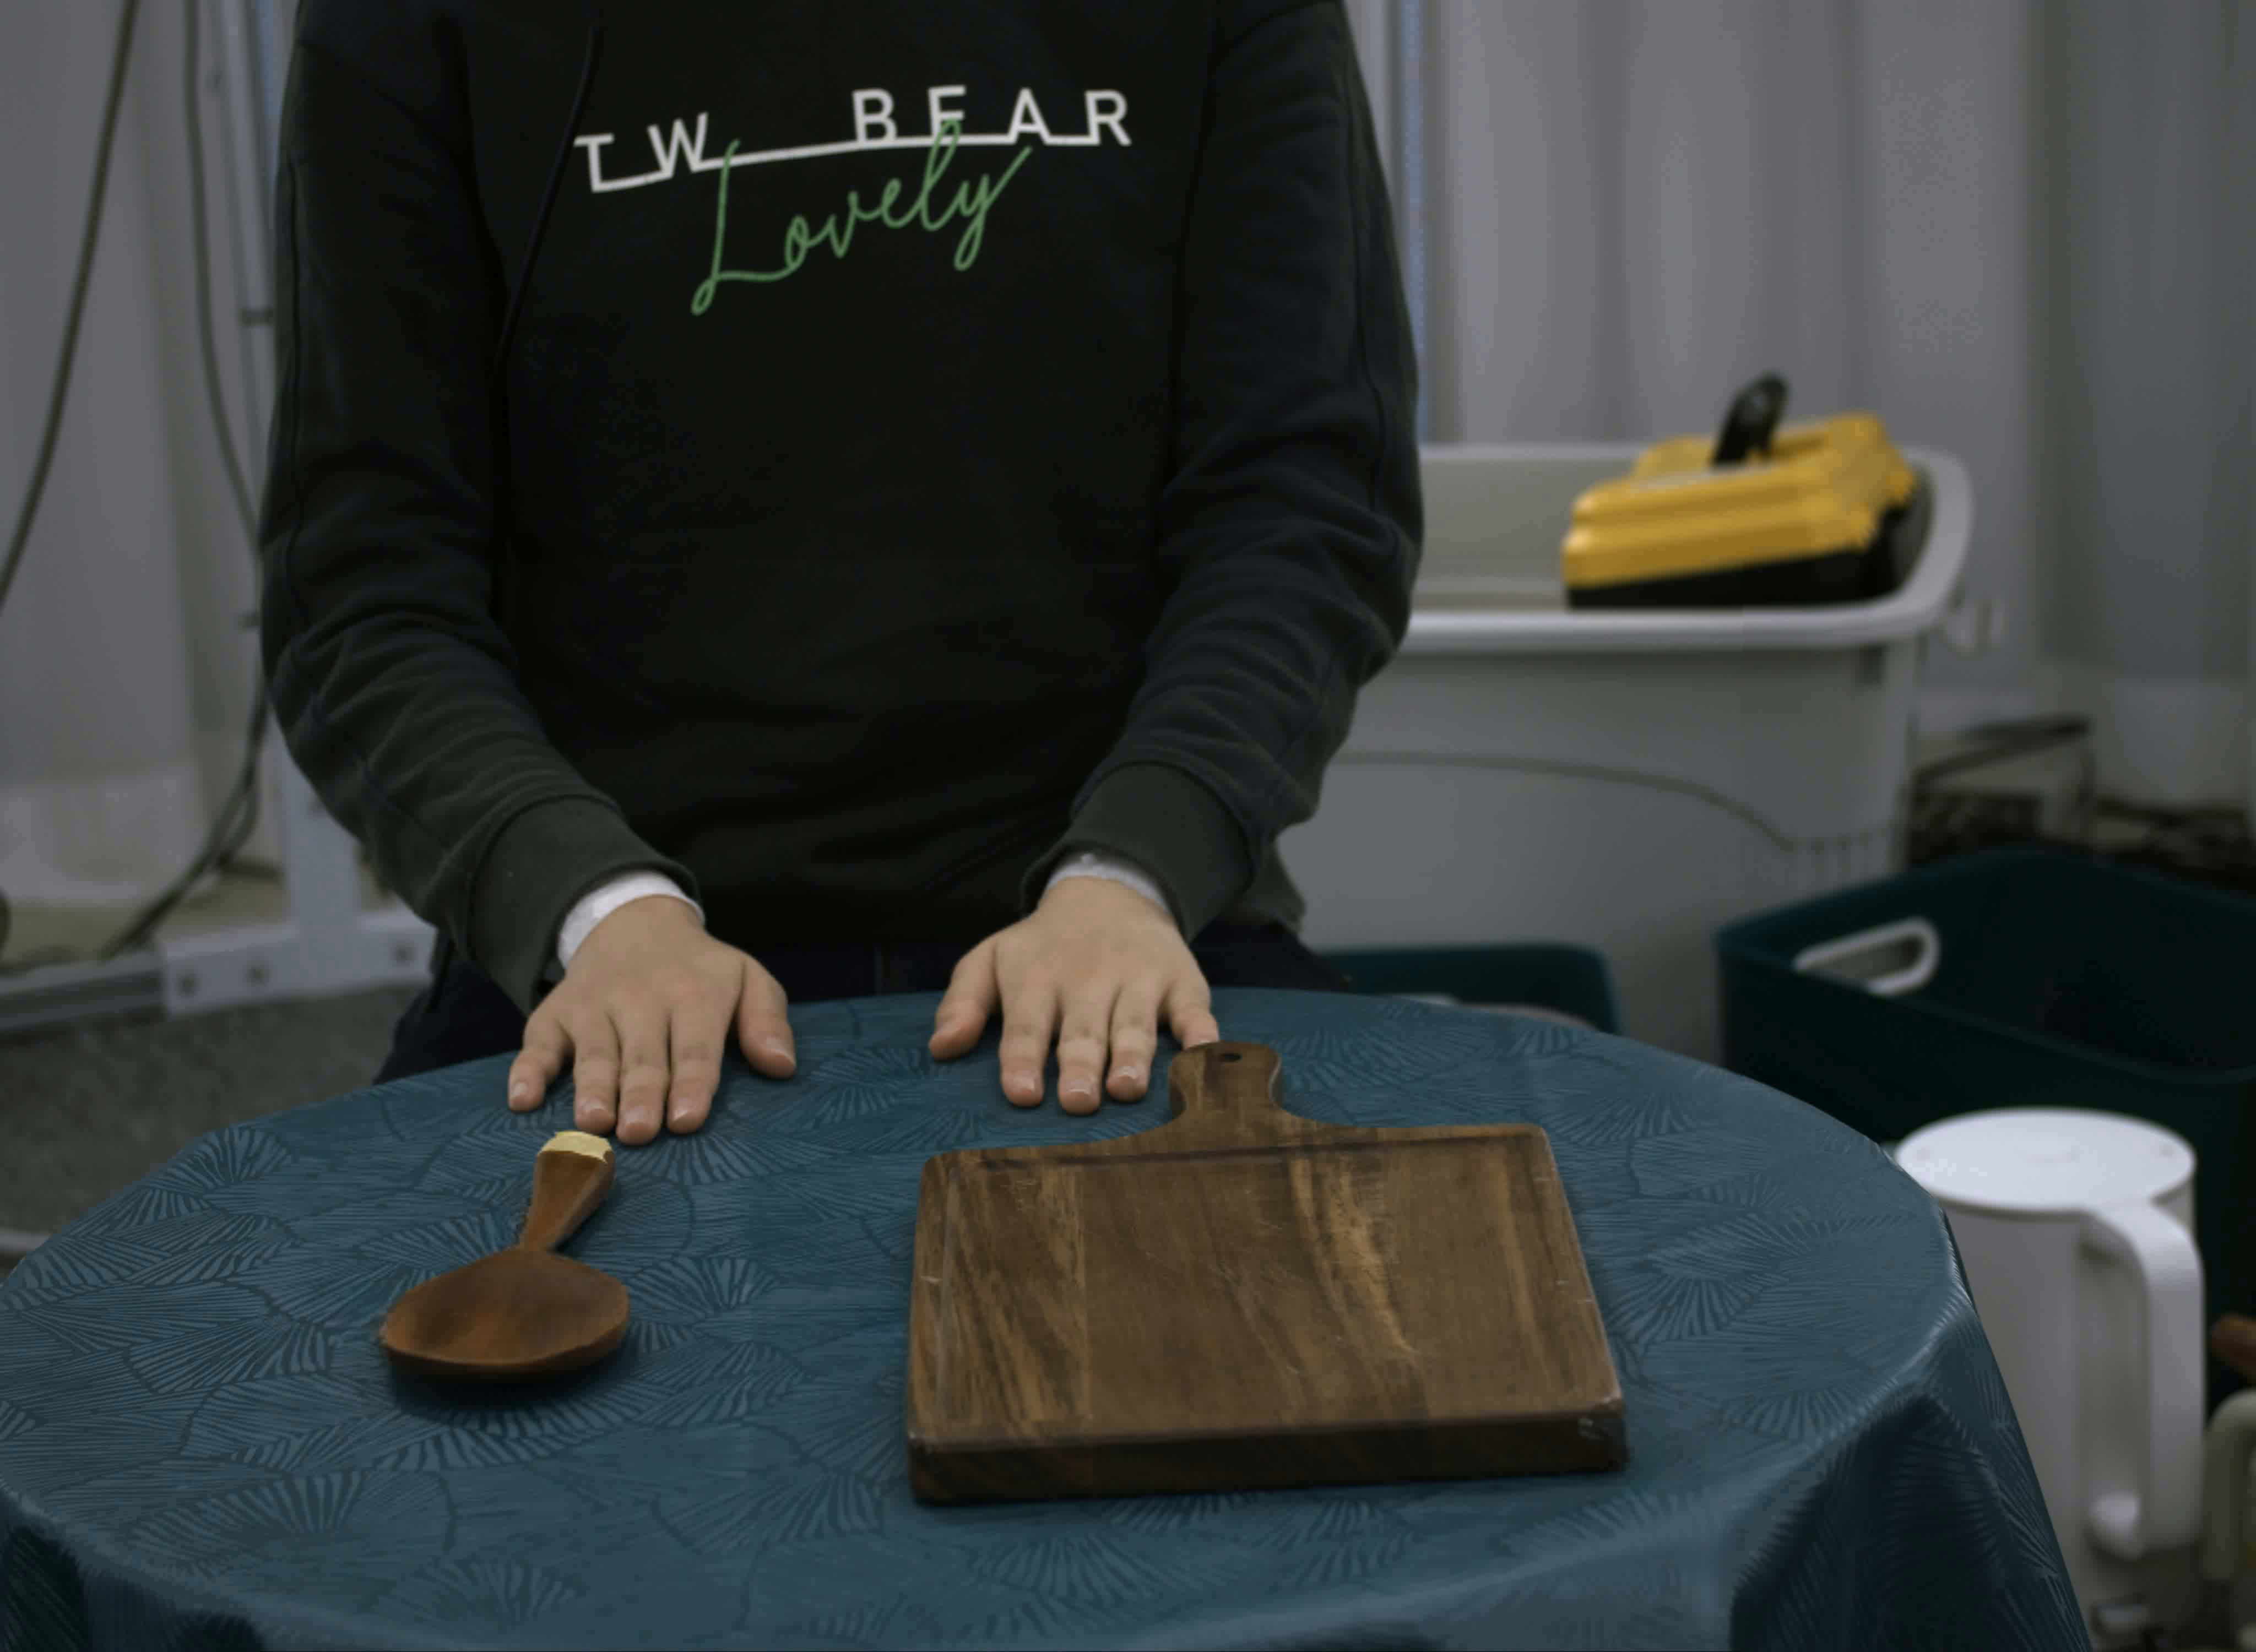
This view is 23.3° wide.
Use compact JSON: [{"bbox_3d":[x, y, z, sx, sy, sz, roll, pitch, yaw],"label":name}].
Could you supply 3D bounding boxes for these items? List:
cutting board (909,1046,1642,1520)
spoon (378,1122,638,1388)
[{"bbox_3d":[0.035,0.127,1.631,0.200,0.023,0.354,-4,15,0],"label":"cutting board"},{"bbox_3d":[-0.178,0.131,1.653,0.075,0.017,0.217,-4,15,3],"label":"spoon"}]
